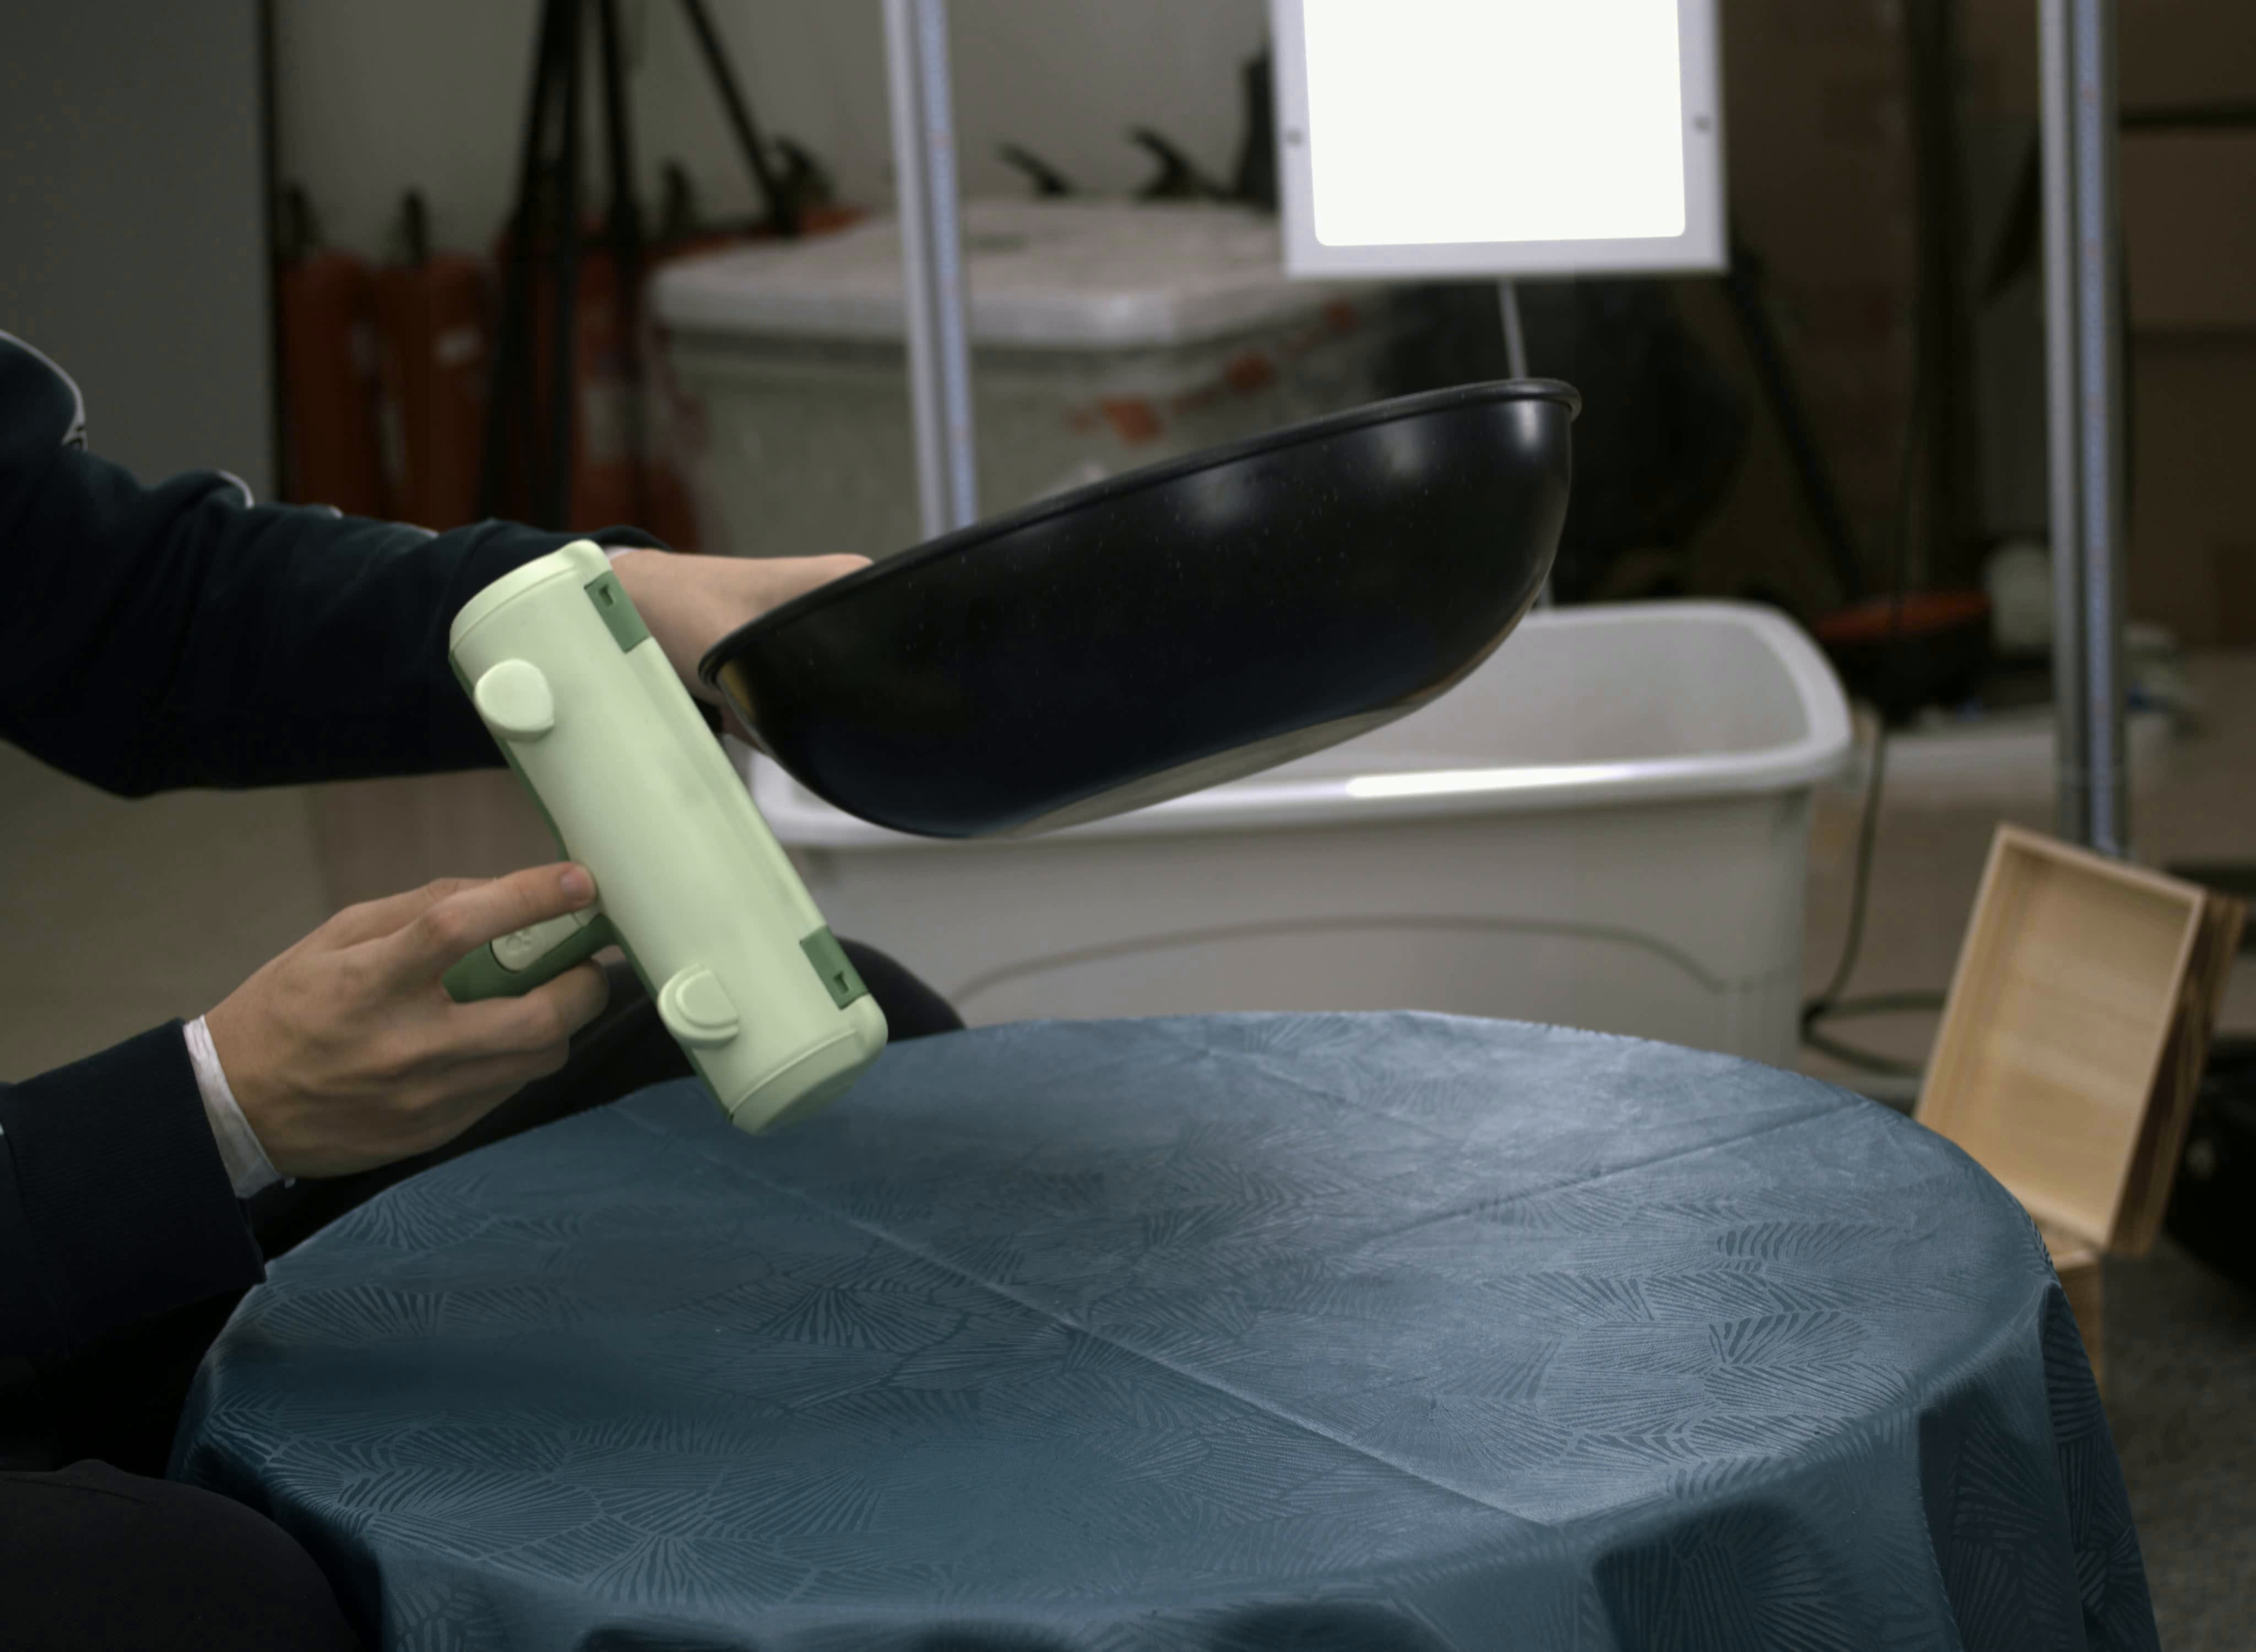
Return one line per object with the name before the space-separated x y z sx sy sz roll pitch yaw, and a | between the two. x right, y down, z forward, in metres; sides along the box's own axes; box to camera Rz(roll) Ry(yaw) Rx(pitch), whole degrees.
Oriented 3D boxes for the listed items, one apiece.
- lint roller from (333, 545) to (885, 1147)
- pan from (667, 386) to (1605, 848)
lint roller | -0.195 0.038 1.767 0.185 0.199 0.081 -35 -12 16
pan | -0.029 -0.048 1.895 0.302 0.112 0.487 -13 -5 -36
